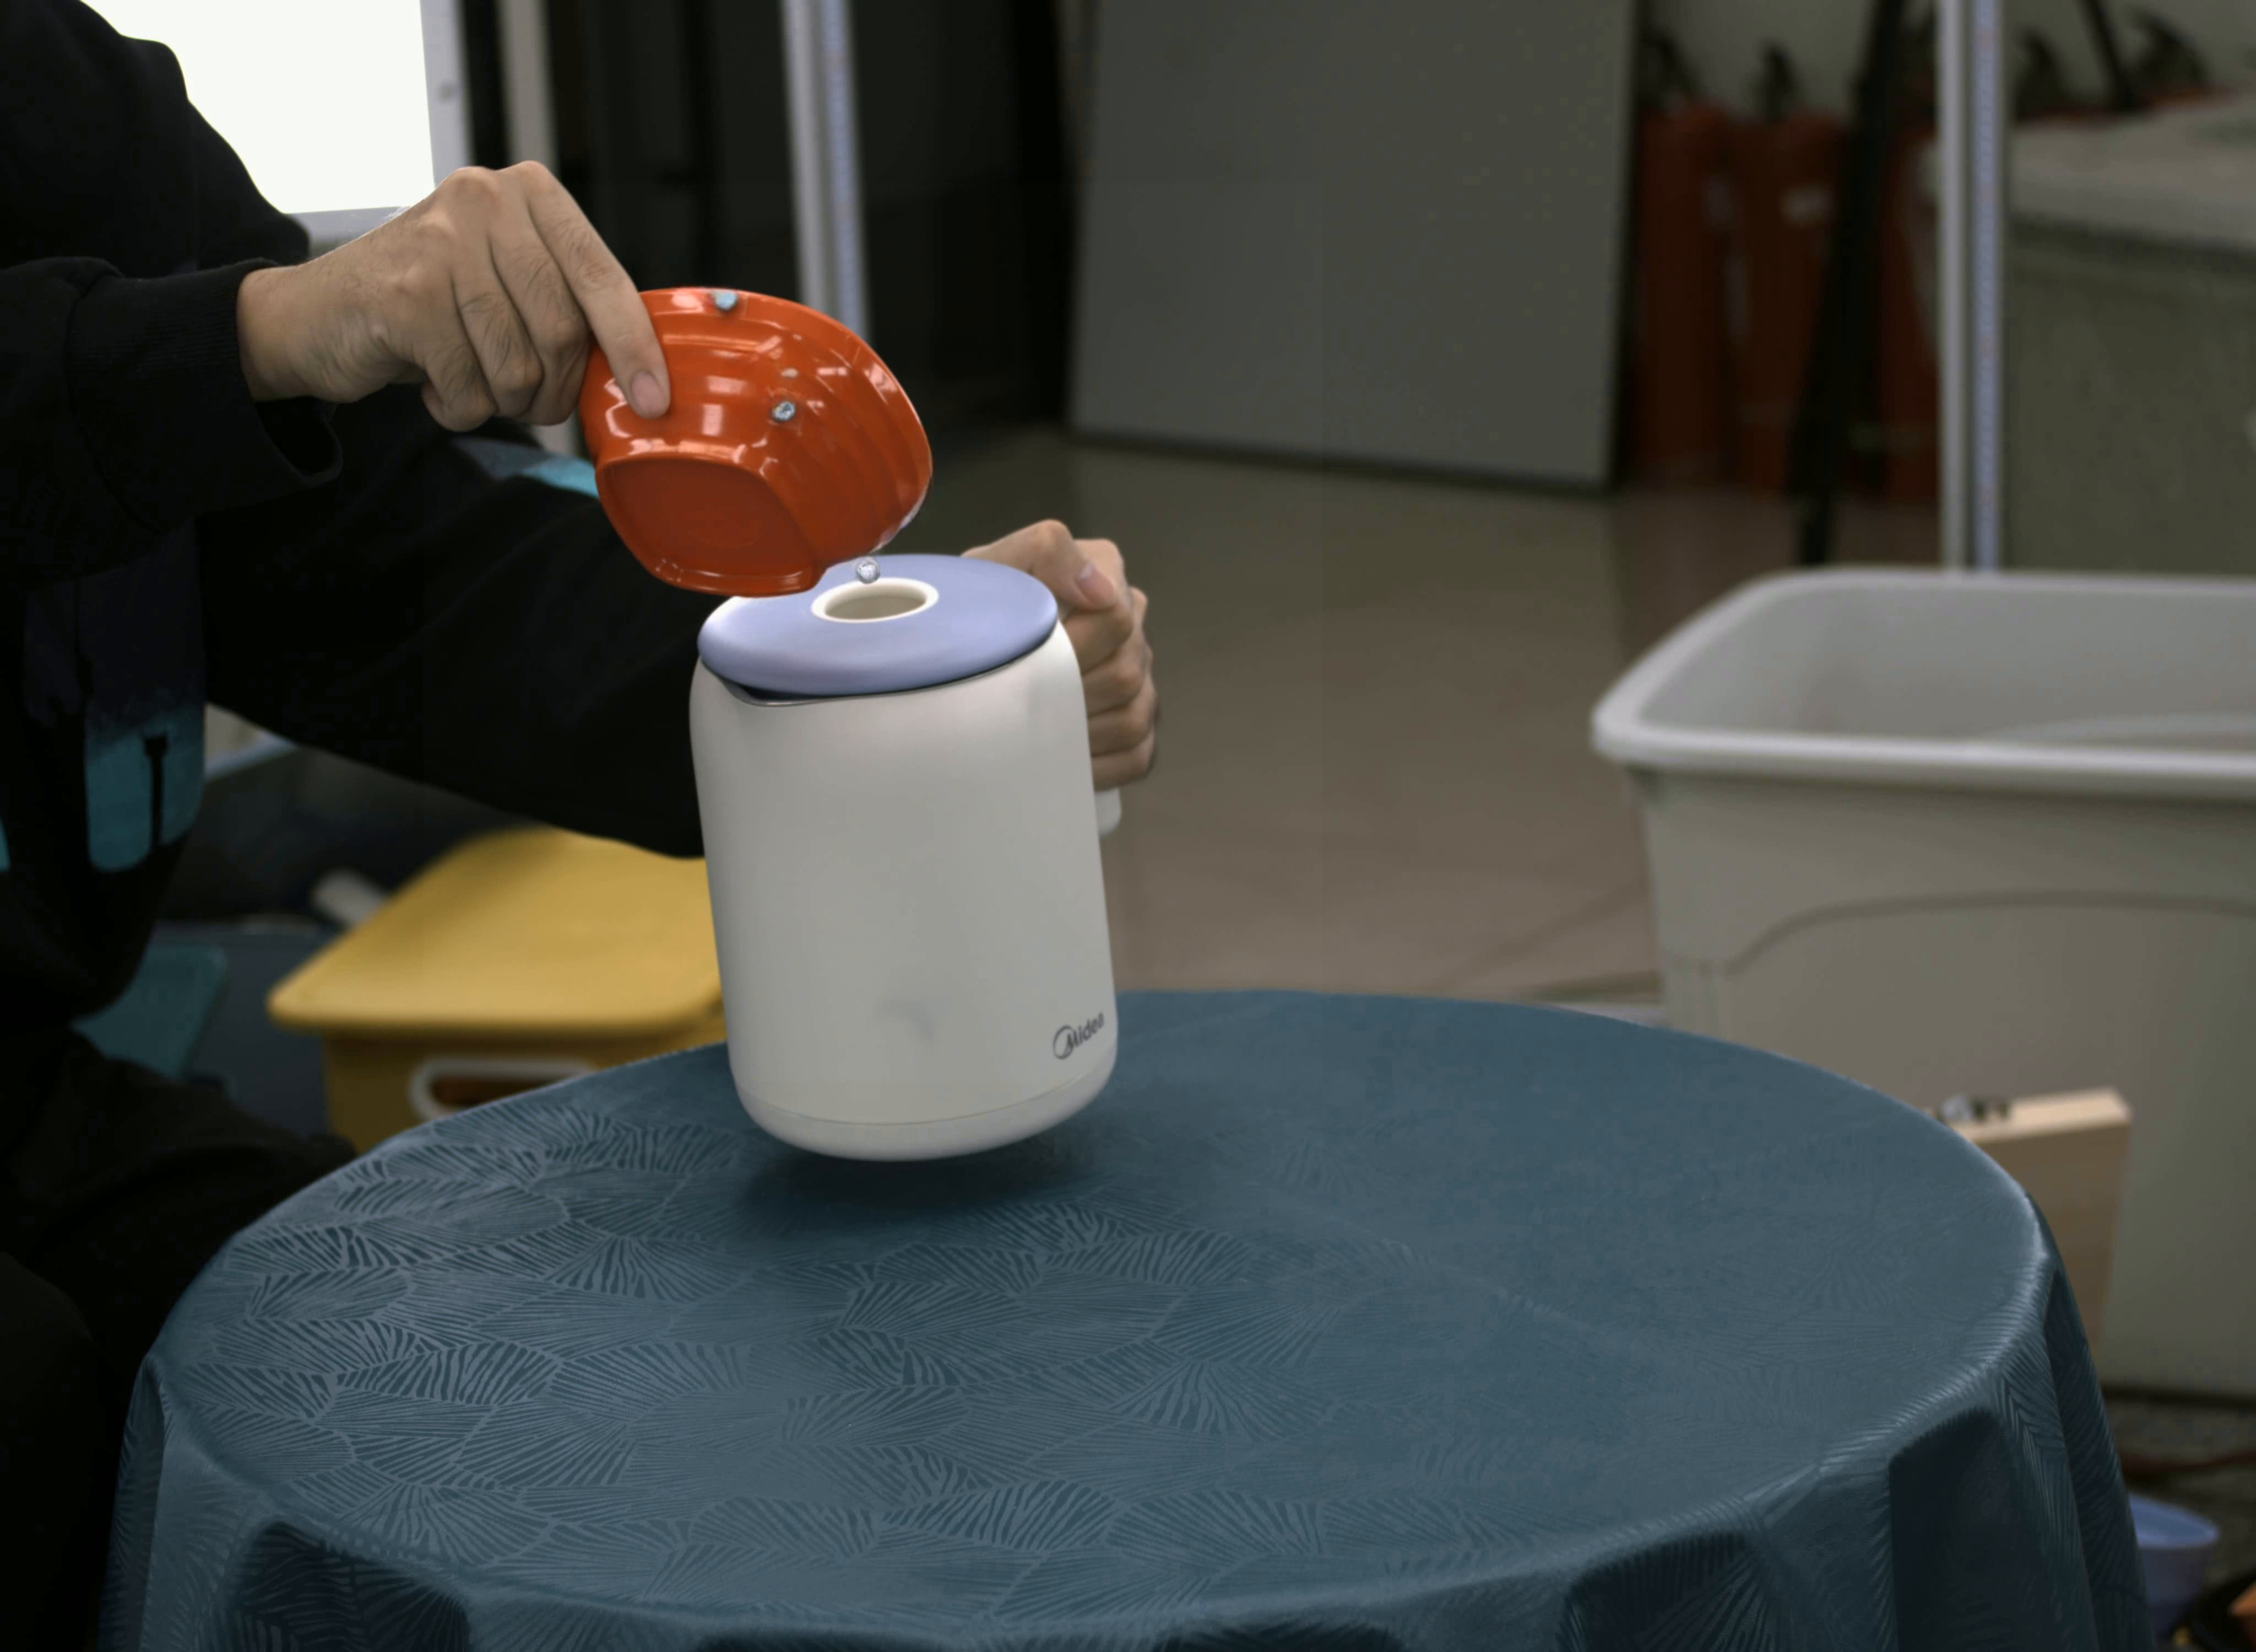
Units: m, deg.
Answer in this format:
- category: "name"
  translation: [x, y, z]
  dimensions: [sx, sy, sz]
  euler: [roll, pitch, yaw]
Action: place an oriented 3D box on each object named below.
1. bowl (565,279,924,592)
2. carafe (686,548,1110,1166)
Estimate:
- category: "bowl"
  translation: [-0.123, -0.112, 1.652]
  dimensions: [0.119, 0.118, 0.051]
  euler: [4, 57, 28]
- category: "carafe"
  translation: [-0.063, 0.001, 1.800]
  dimensions: [0.133, 0.184, 0.188]
  euler: [9, 23, 31]
